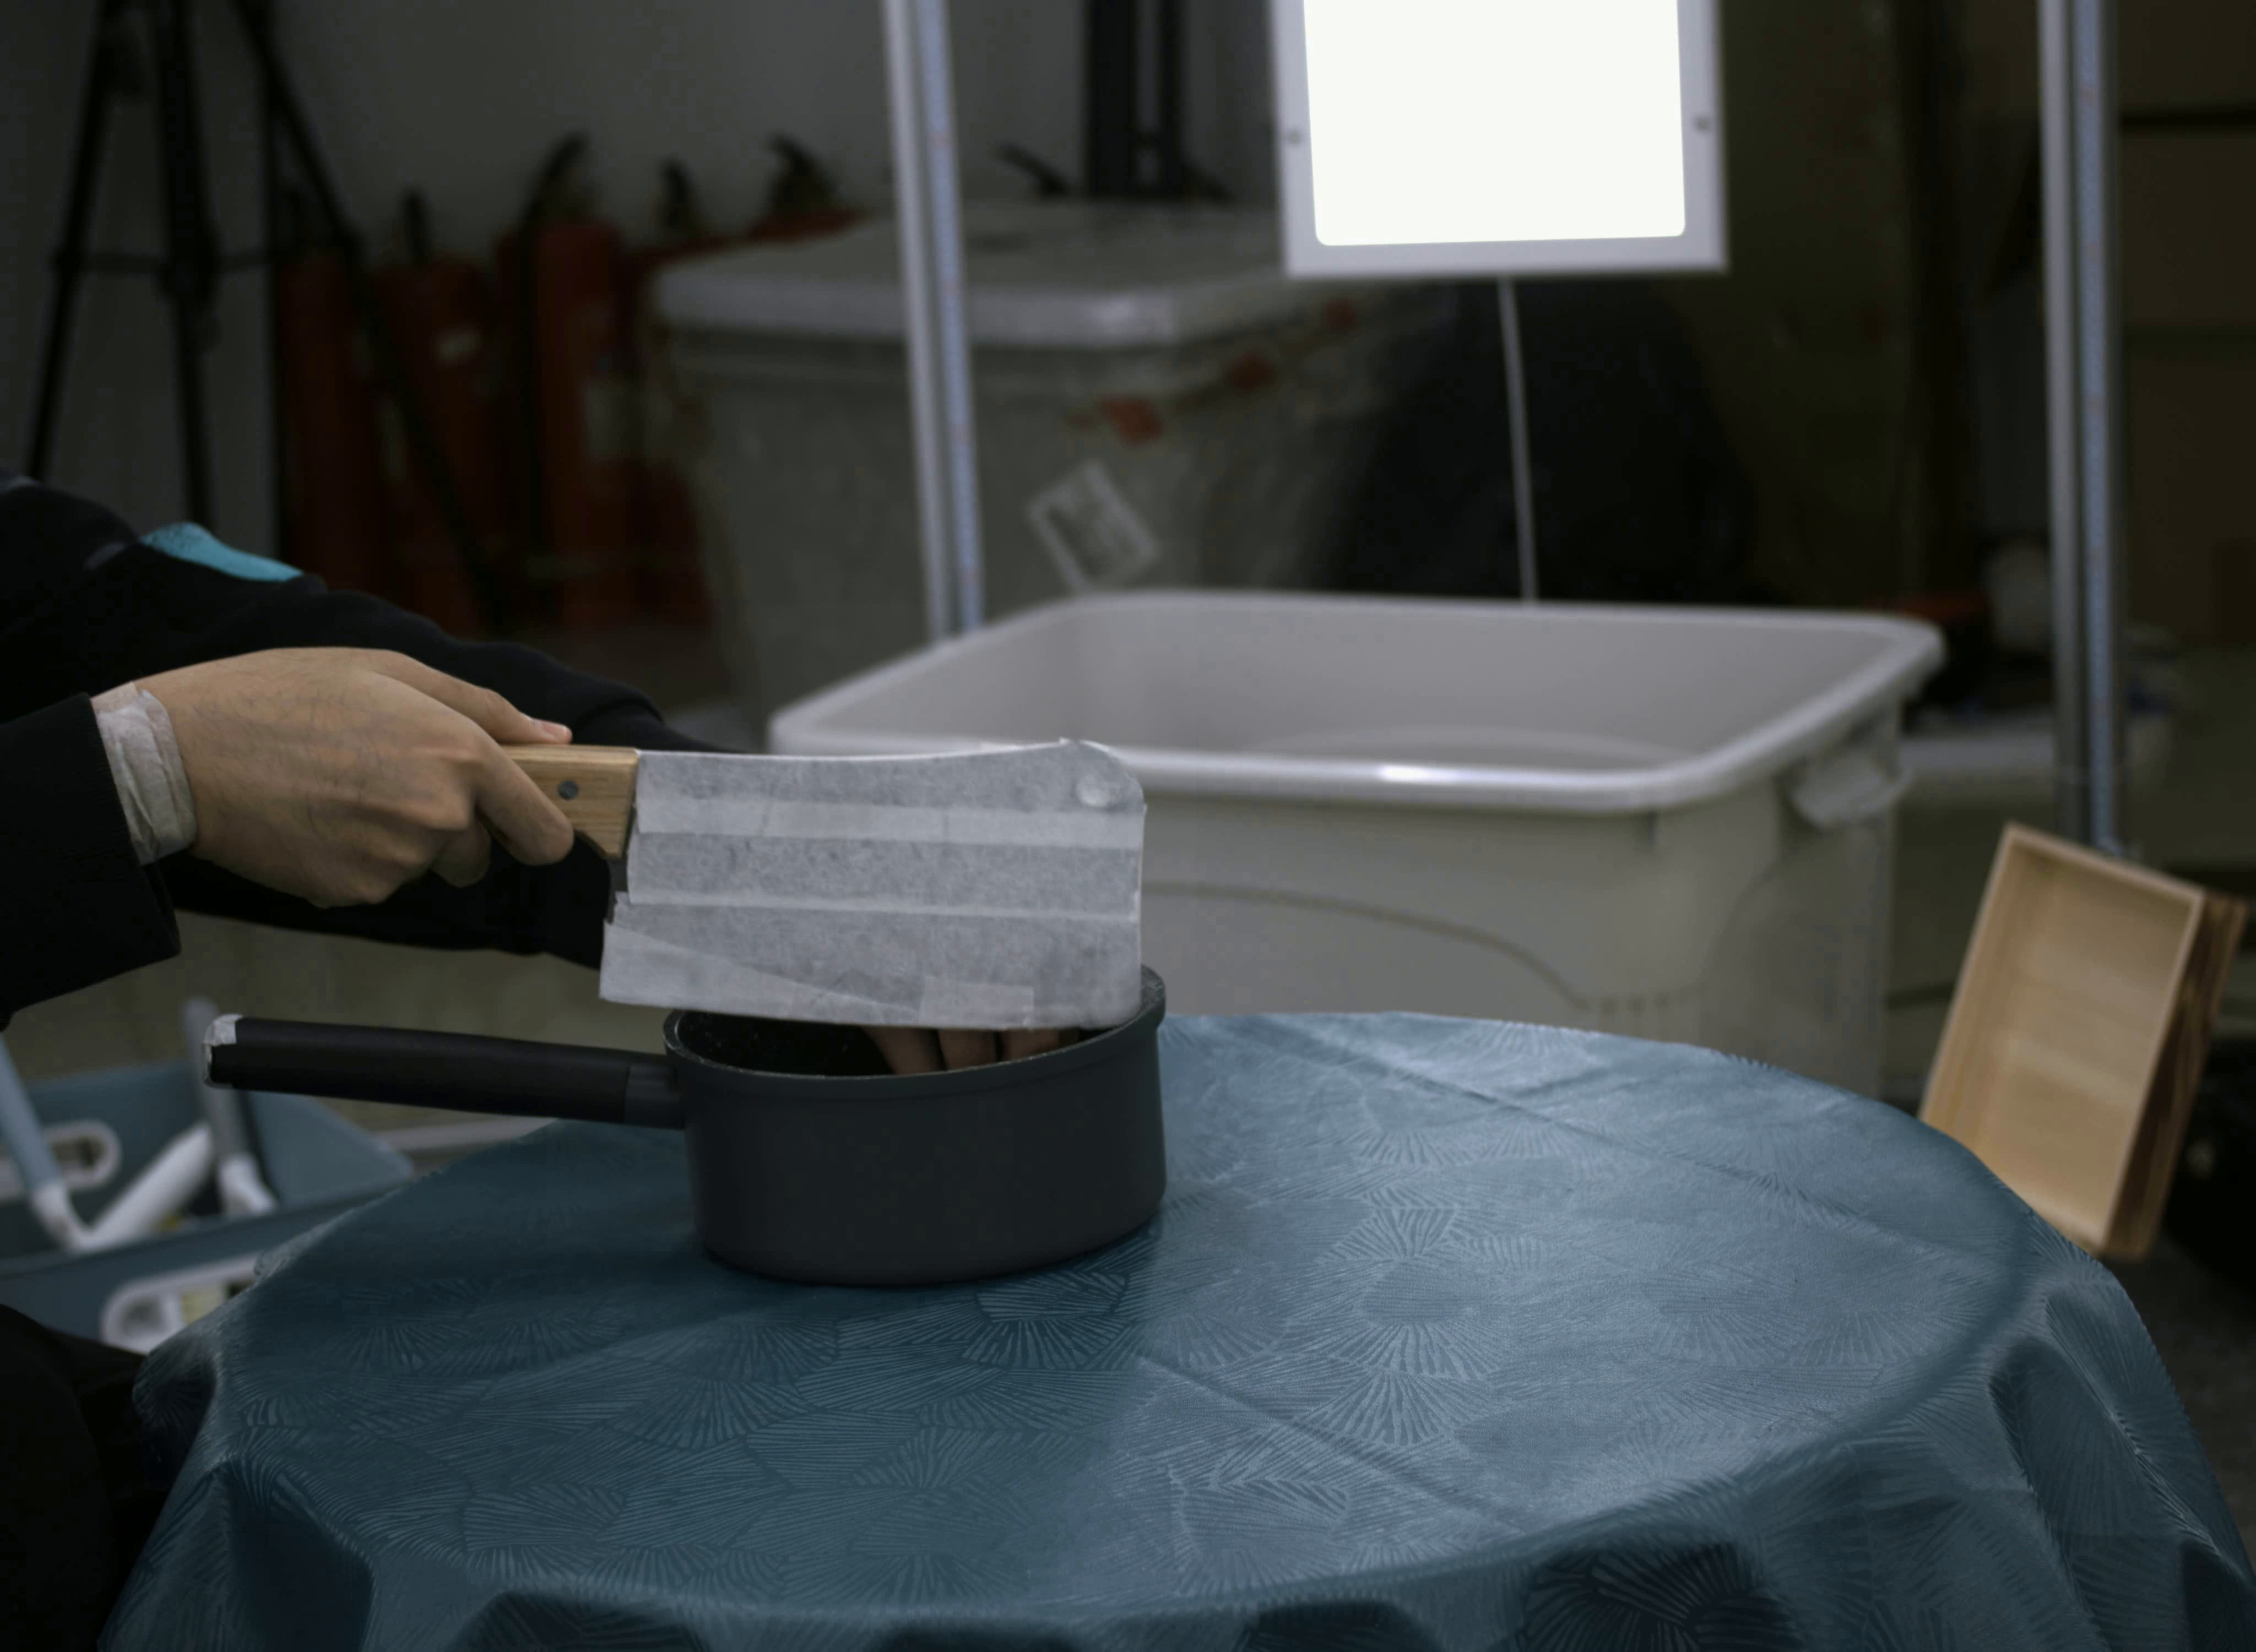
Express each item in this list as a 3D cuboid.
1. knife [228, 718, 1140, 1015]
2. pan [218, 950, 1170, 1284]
[{"bbox_3d":[-0.142,0.007,1.836,0.312,0.114,0.022,6,11,-11],"label":"knife"},{"bbox_3d":[-0.147,0.099,1.888,0.330,0.087,0.171,-3,12,7],"label":"pan"}]
